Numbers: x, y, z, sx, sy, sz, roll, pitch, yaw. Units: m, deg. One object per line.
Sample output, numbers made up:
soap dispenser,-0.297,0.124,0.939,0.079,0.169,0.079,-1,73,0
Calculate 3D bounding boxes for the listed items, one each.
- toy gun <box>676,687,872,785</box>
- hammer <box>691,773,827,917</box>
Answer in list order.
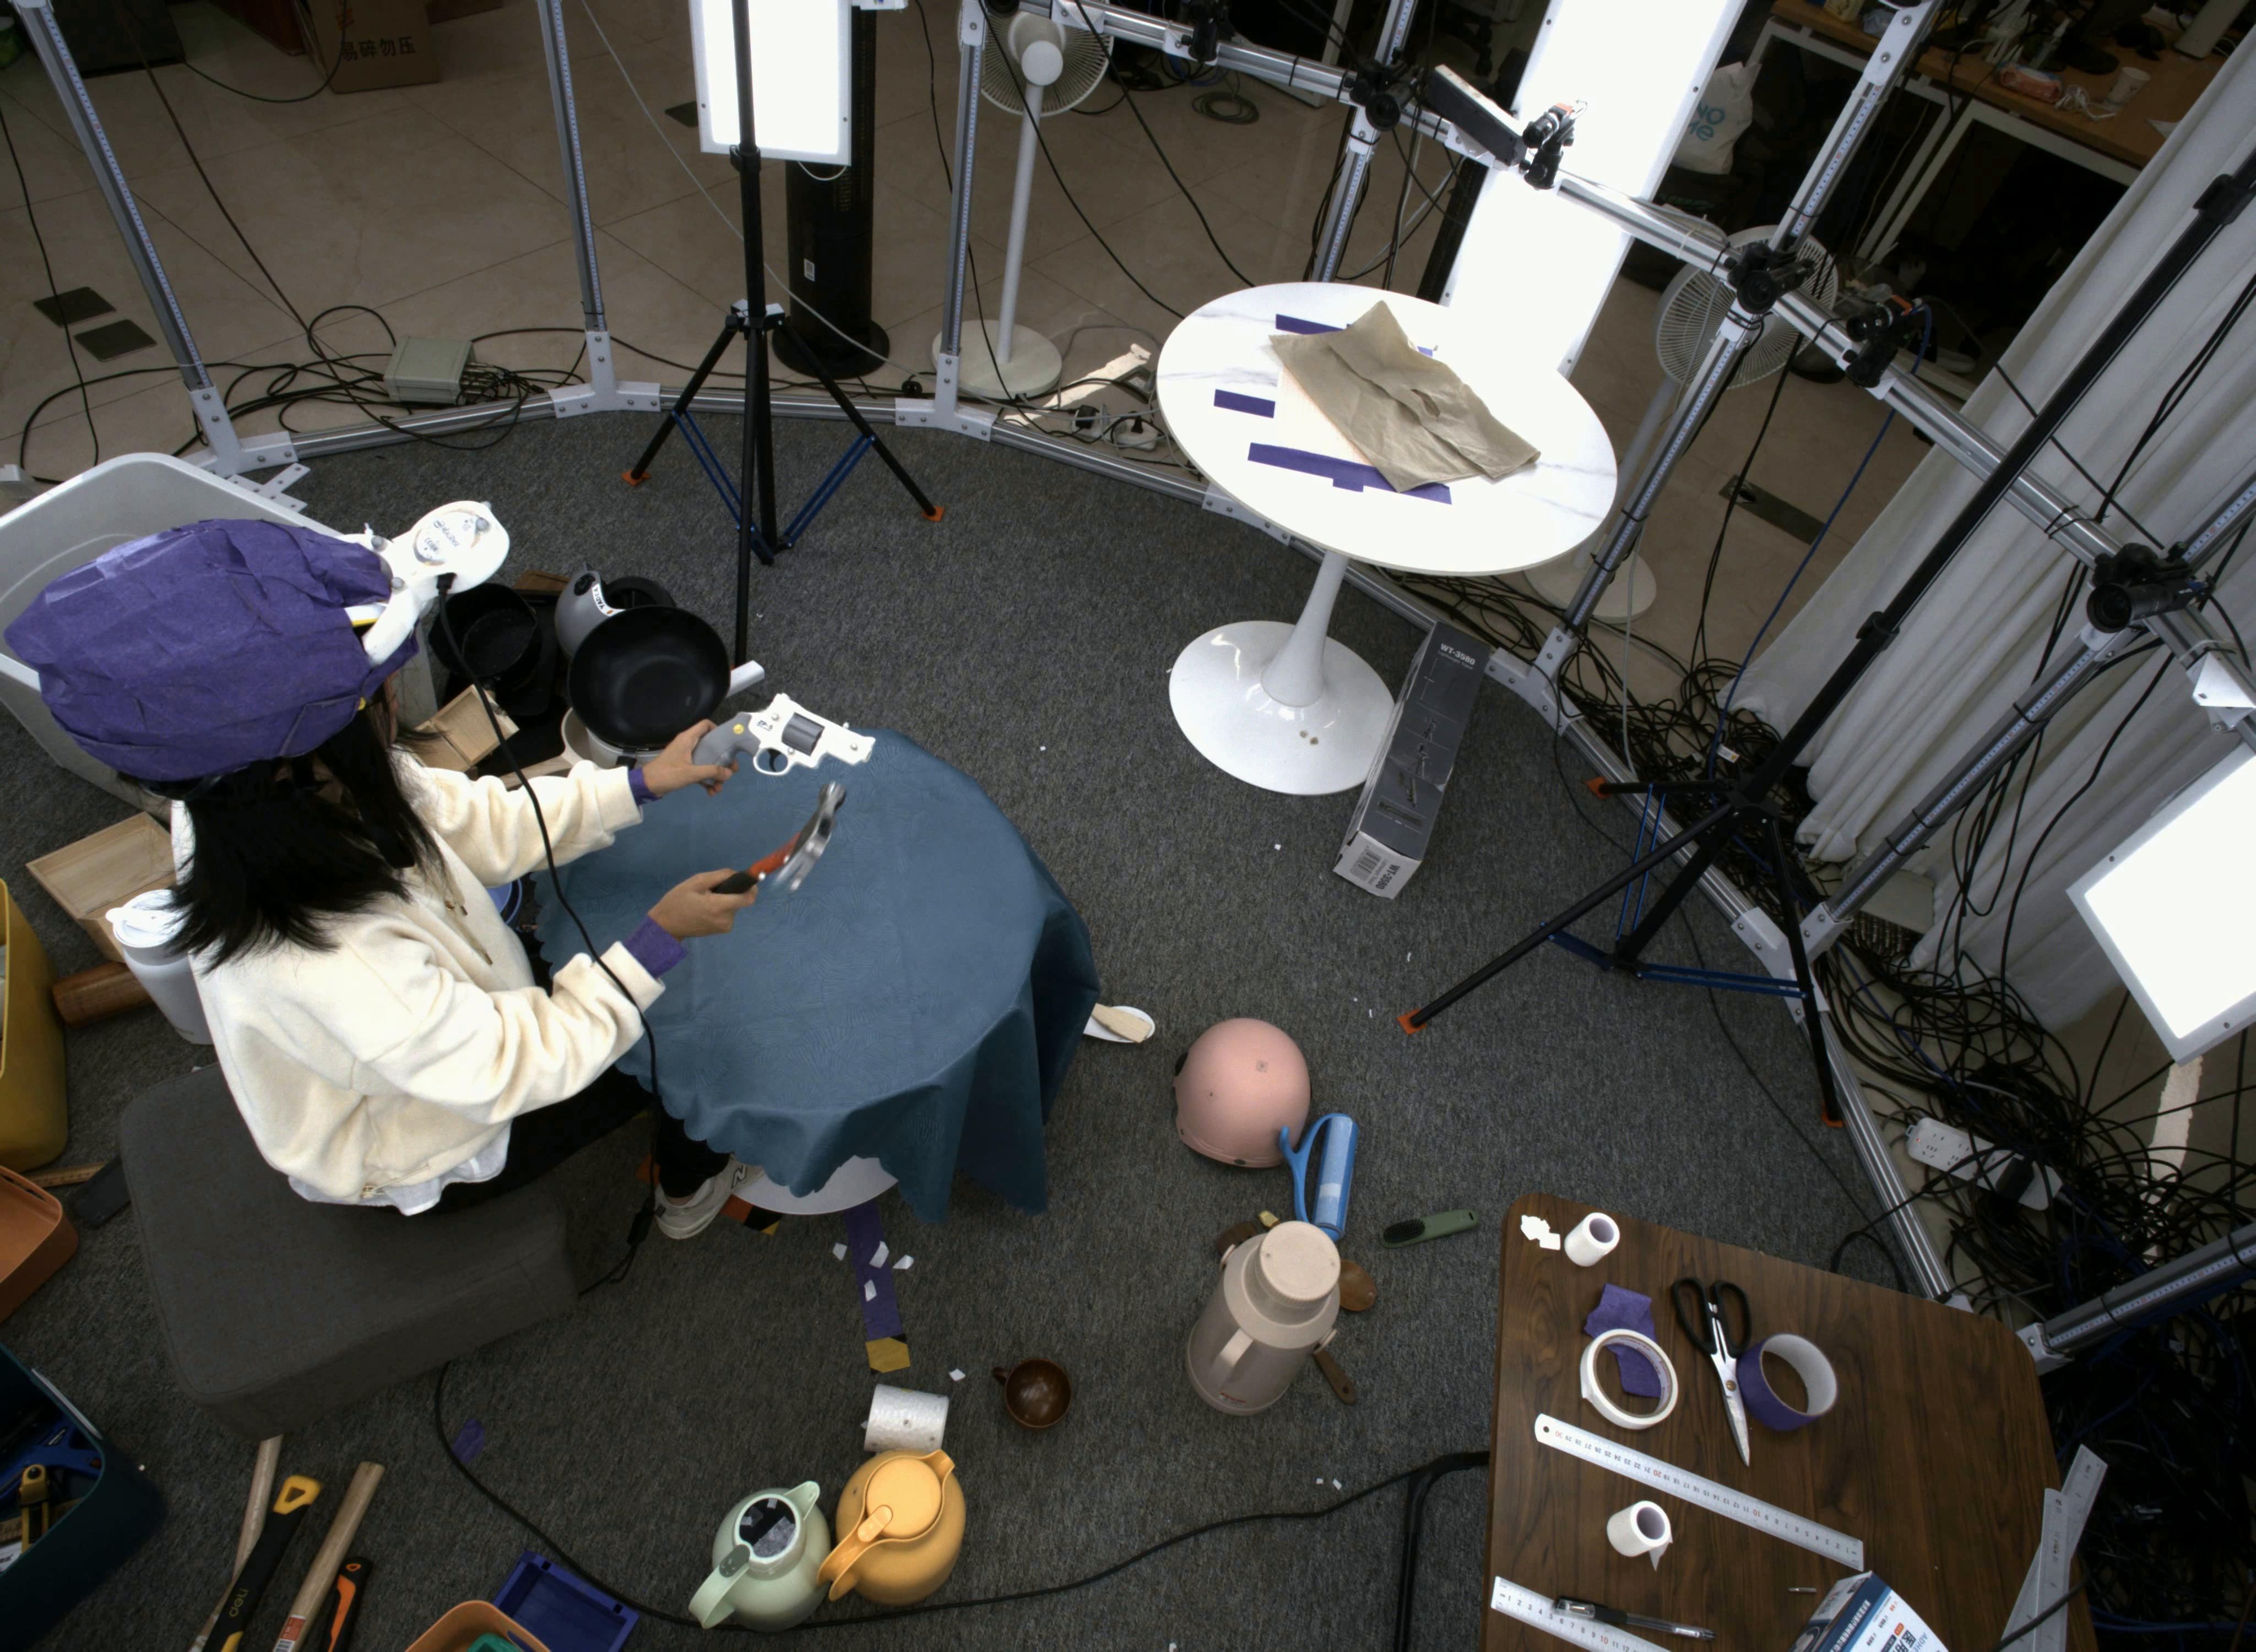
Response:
toy gun,-0.432,-0.094,1.574,0.207,0.039,0.142,23,81,0
hammer,-0.388,0.042,1.333,0.027,0.273,0.109,23,58,-33
